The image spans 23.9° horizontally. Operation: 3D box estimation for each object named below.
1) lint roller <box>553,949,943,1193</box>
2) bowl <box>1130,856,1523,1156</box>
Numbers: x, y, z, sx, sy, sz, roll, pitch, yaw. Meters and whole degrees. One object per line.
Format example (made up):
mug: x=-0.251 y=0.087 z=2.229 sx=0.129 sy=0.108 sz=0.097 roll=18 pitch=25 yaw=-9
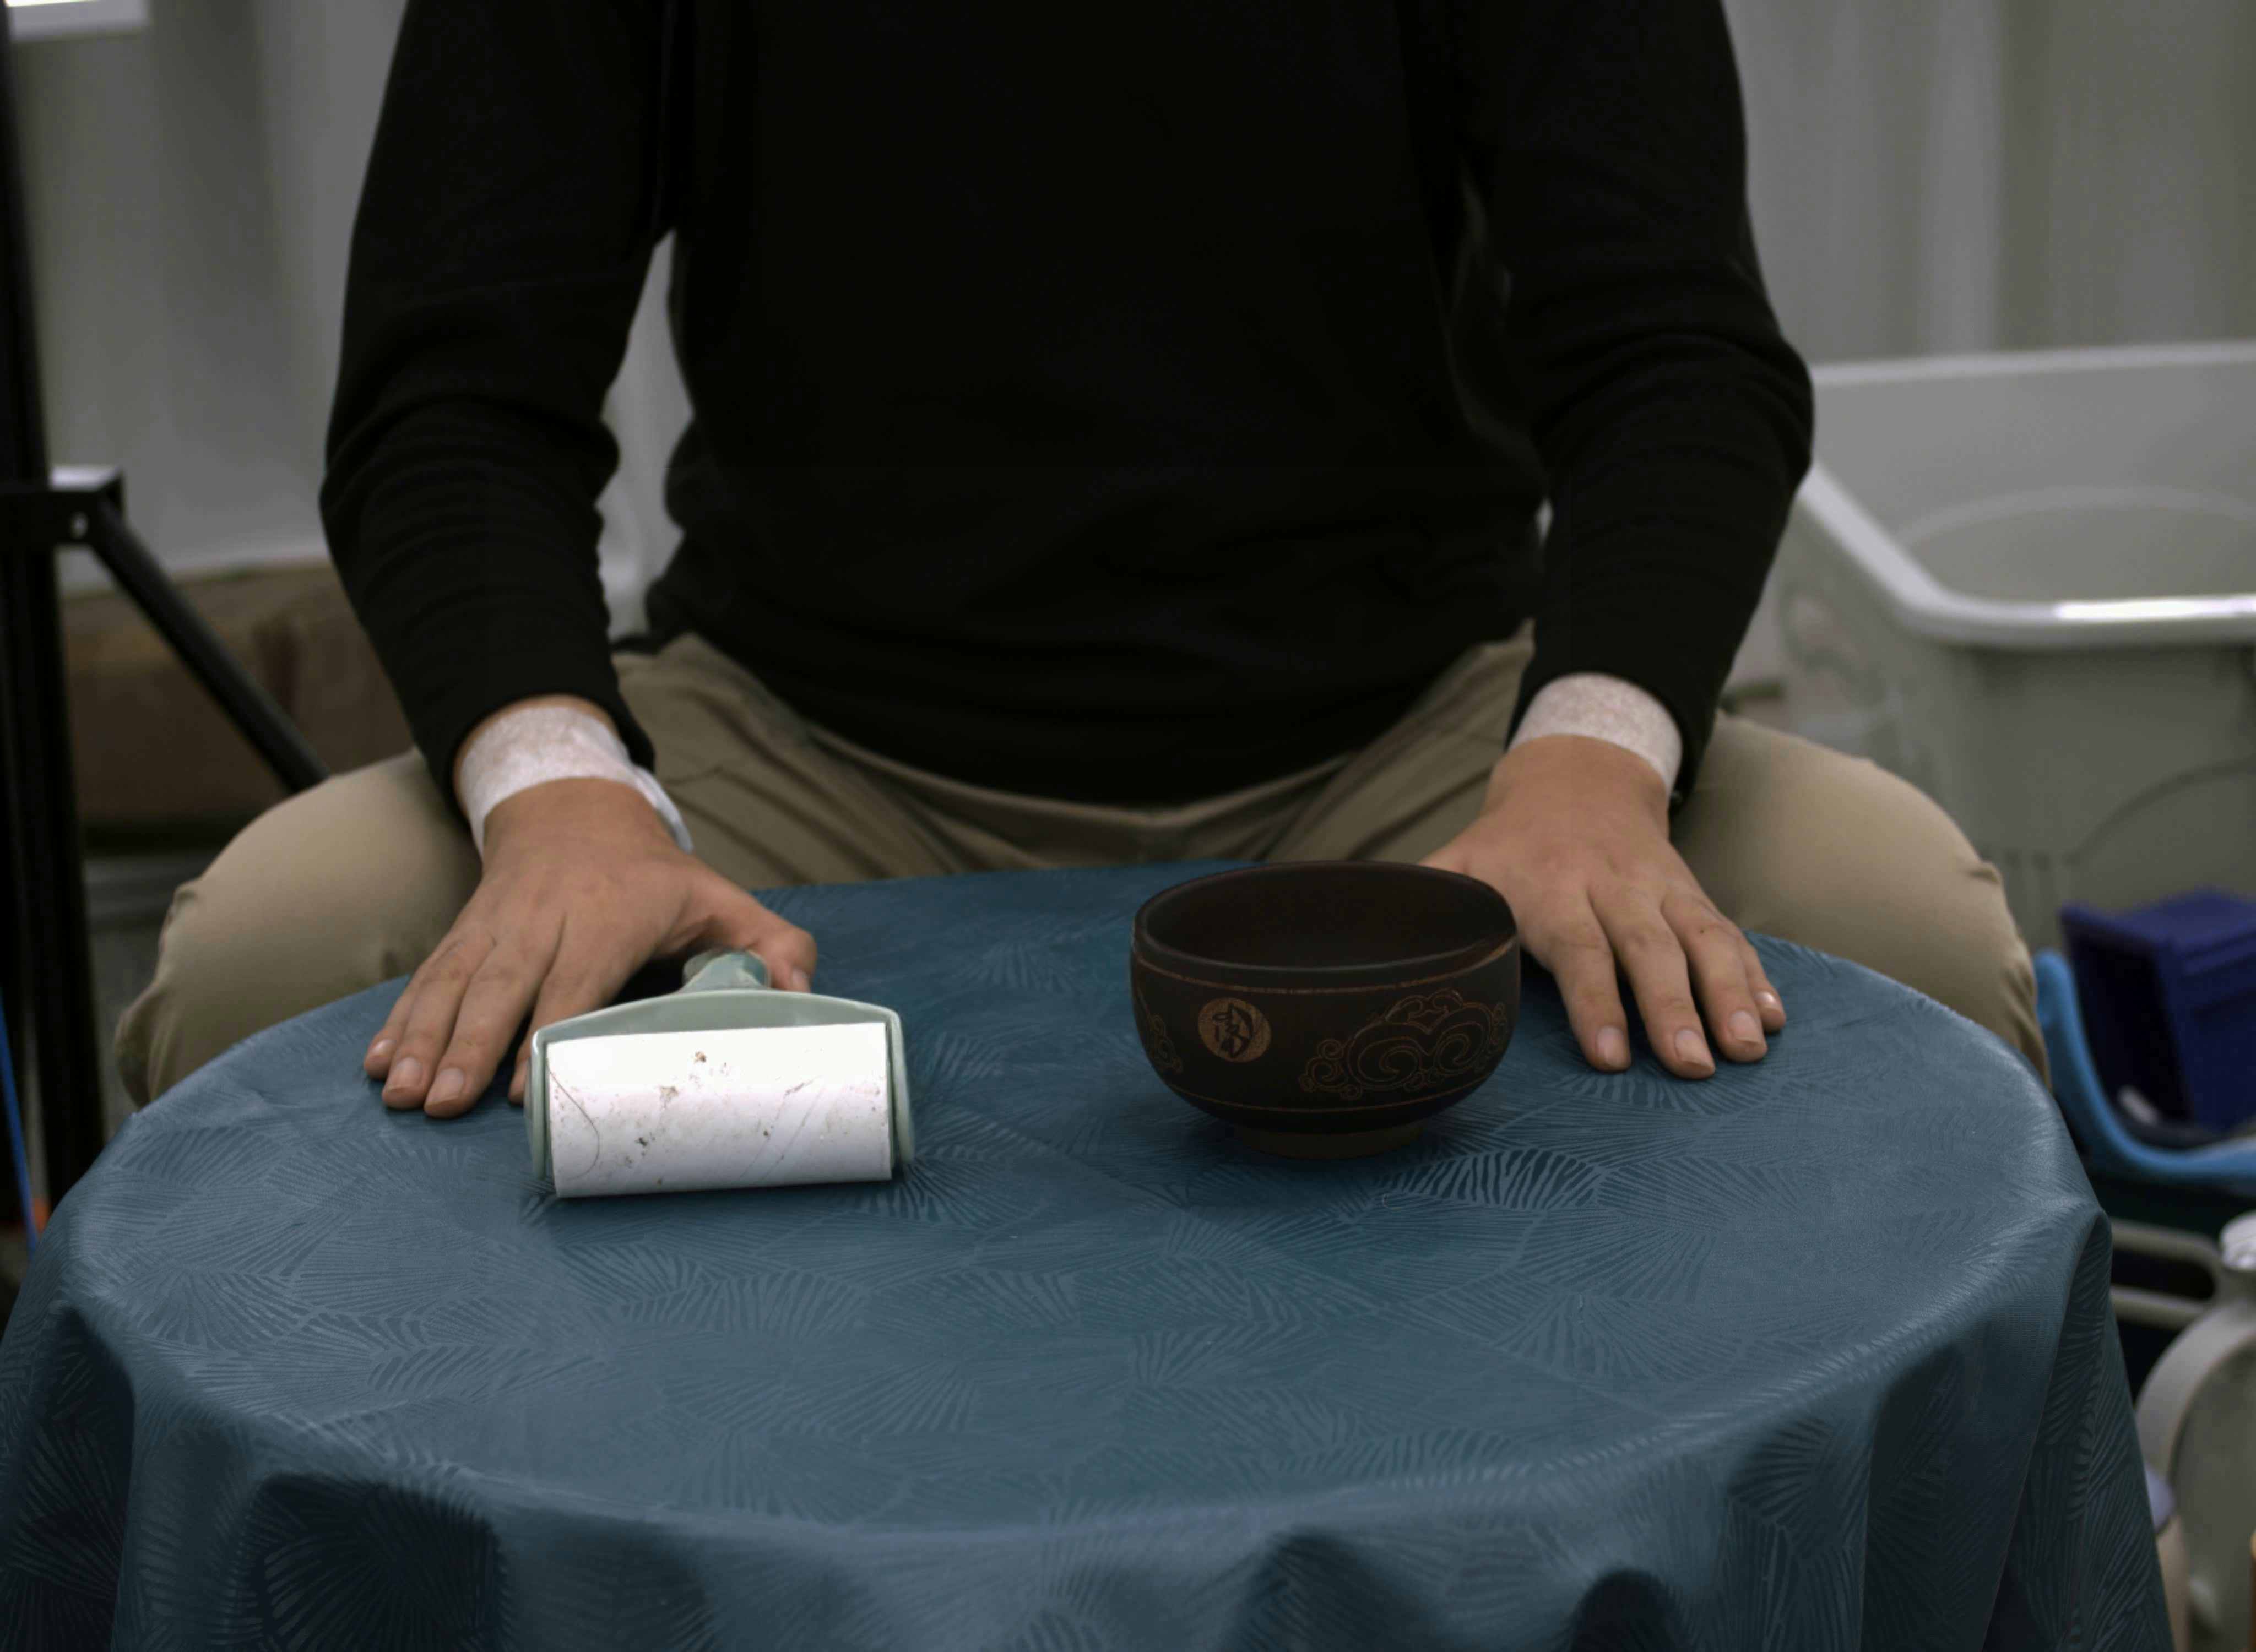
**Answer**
lint roller: x=-0.117 y=0.065 z=1.648 sx=0.116 sy=0.048 sz=0.199 roll=-4 pitch=14 yaw=-2
bowl: x=0.060 y=0.058 z=1.593 sx=0.117 sy=0.070 sz=0.118 roll=-3 pitch=15 yaw=0
